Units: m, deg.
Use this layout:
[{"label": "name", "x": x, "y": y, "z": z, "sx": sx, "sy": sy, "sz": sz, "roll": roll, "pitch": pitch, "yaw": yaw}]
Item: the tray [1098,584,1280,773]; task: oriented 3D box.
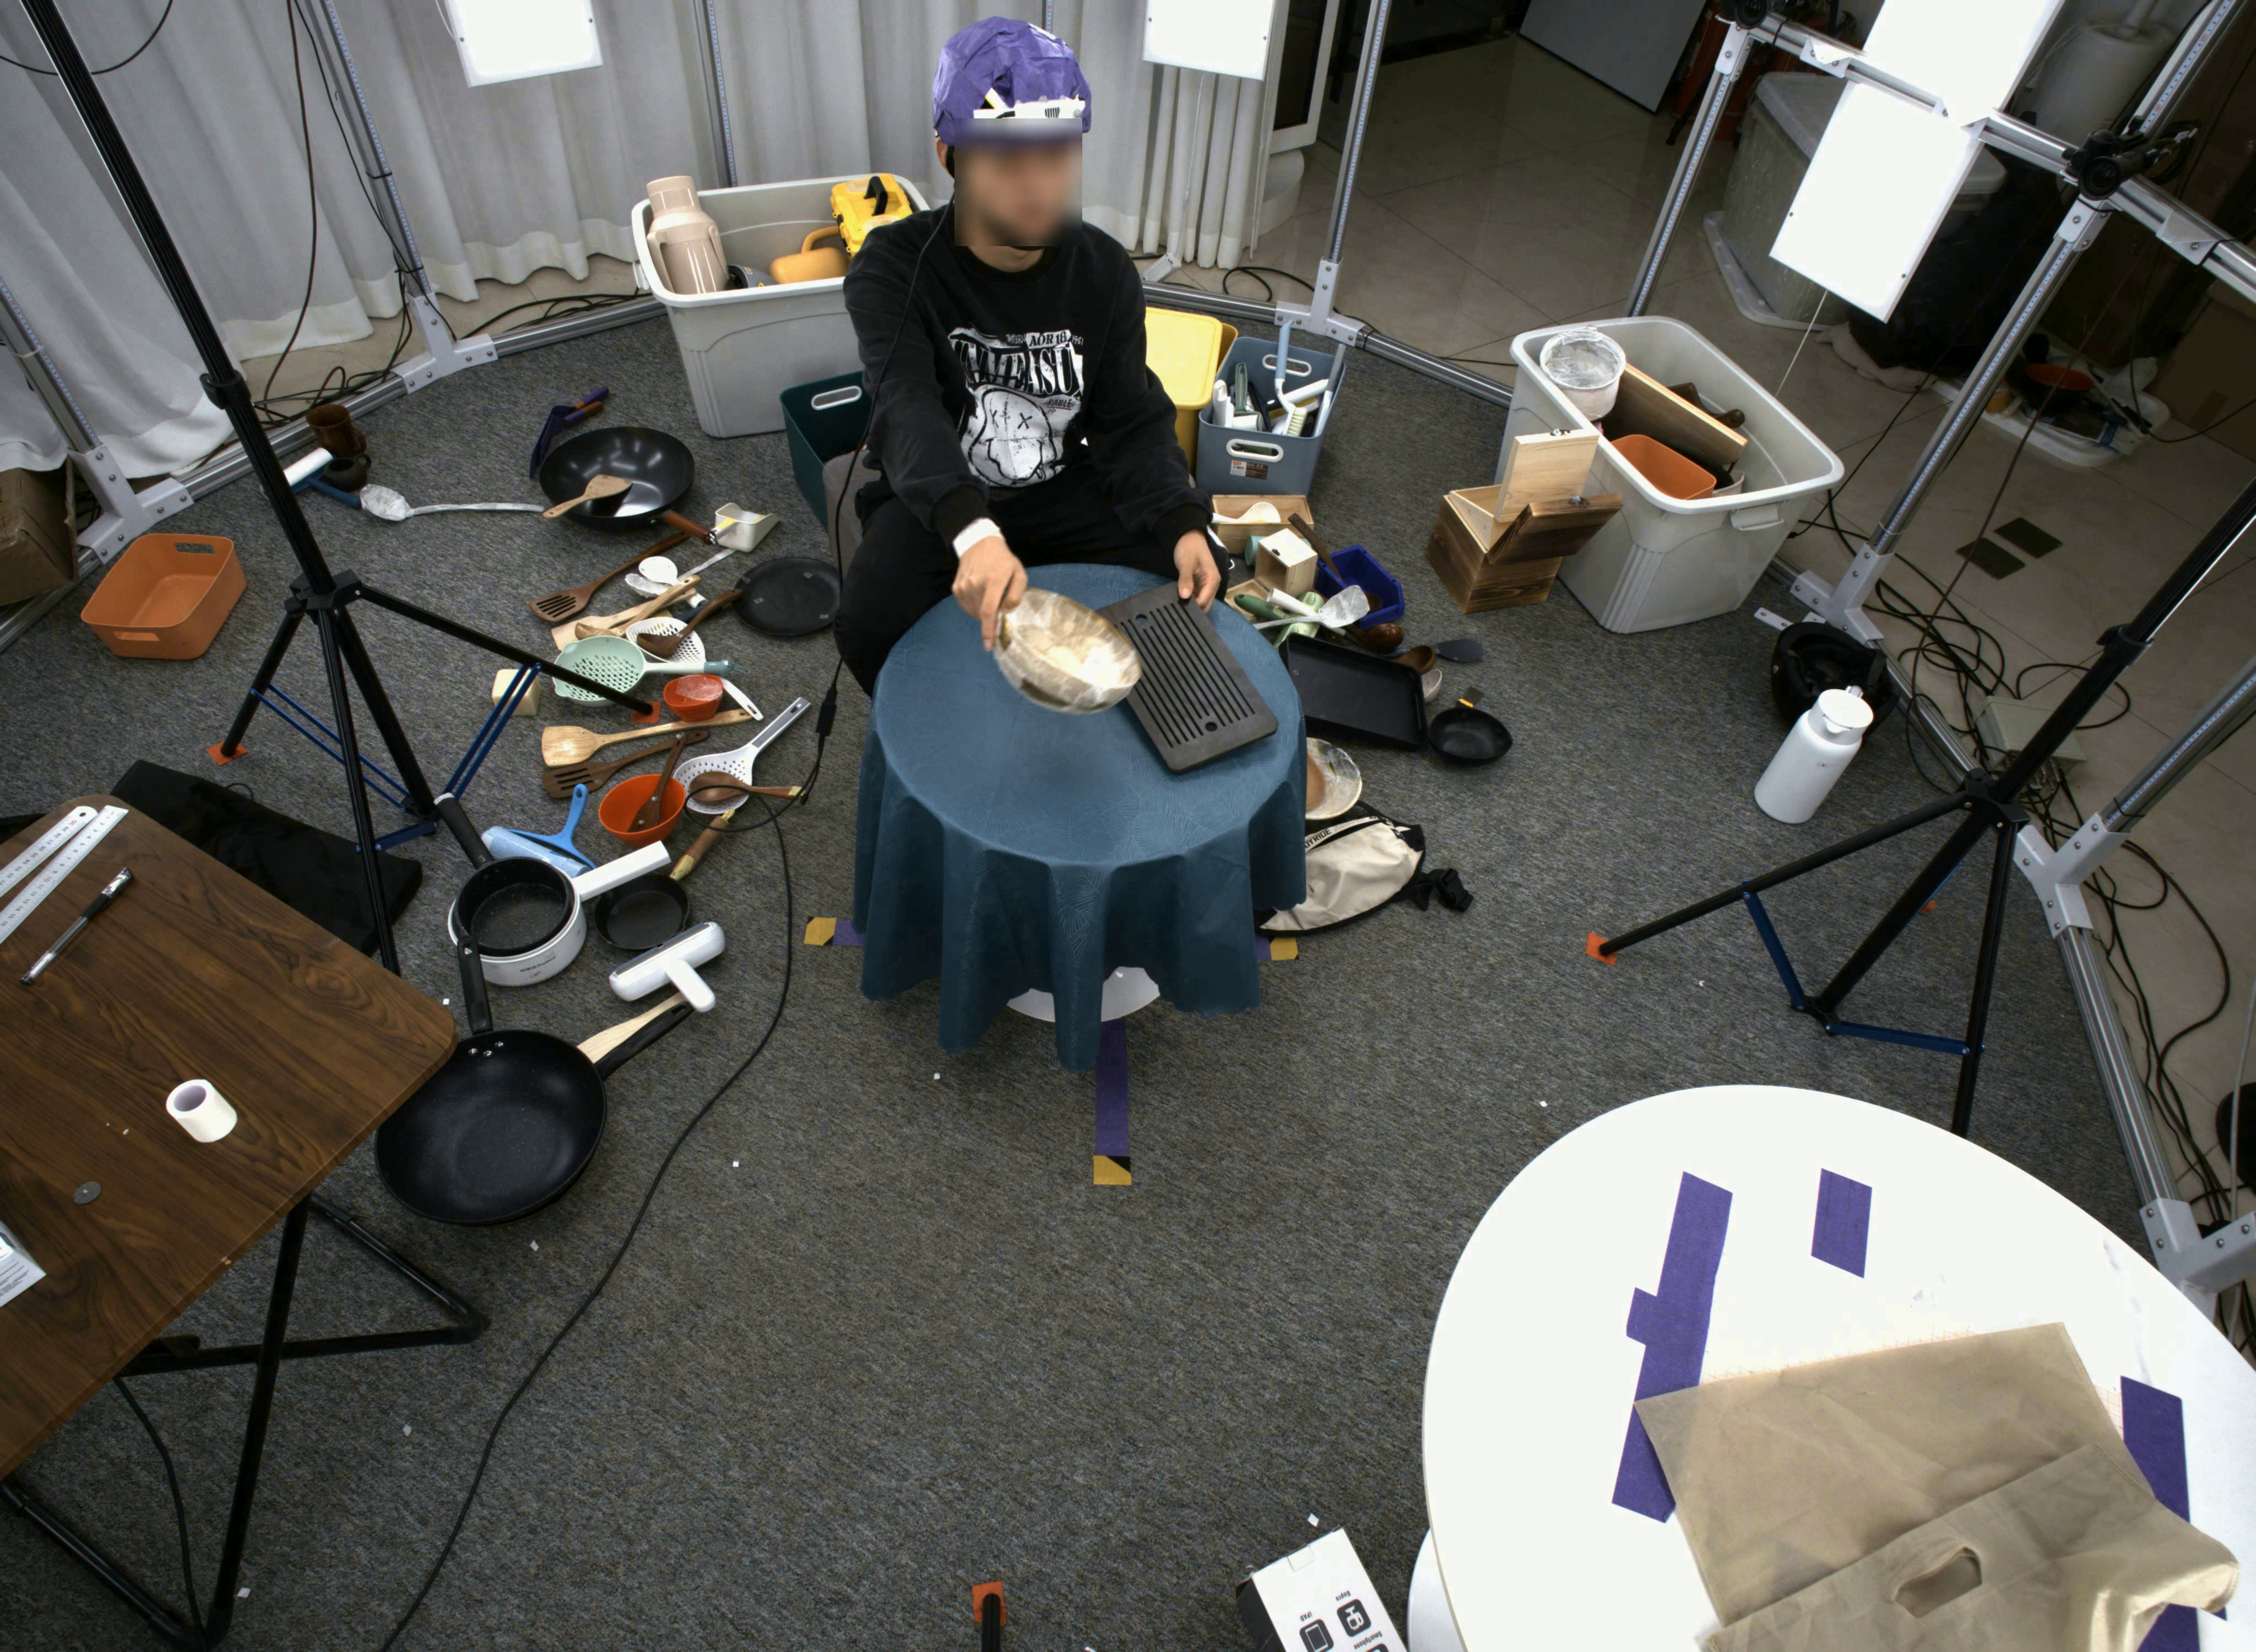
[{"label": "tray", "x": 0.073, "y": -0.215, "z": 1.836, "sx": 0.170, "sy": 0.018, "sz": 0.312, "roll": -22, "pitch": 59, "yaw": -13}]

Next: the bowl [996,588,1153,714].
[{"label": "bowl", "x": -0.084, "y": -0.210, "z": 1.637, "sx": 0.213, "sy": 0.093, "sz": 0.219, "roll": 22, "pitch": 31, "yaw": -14}]
